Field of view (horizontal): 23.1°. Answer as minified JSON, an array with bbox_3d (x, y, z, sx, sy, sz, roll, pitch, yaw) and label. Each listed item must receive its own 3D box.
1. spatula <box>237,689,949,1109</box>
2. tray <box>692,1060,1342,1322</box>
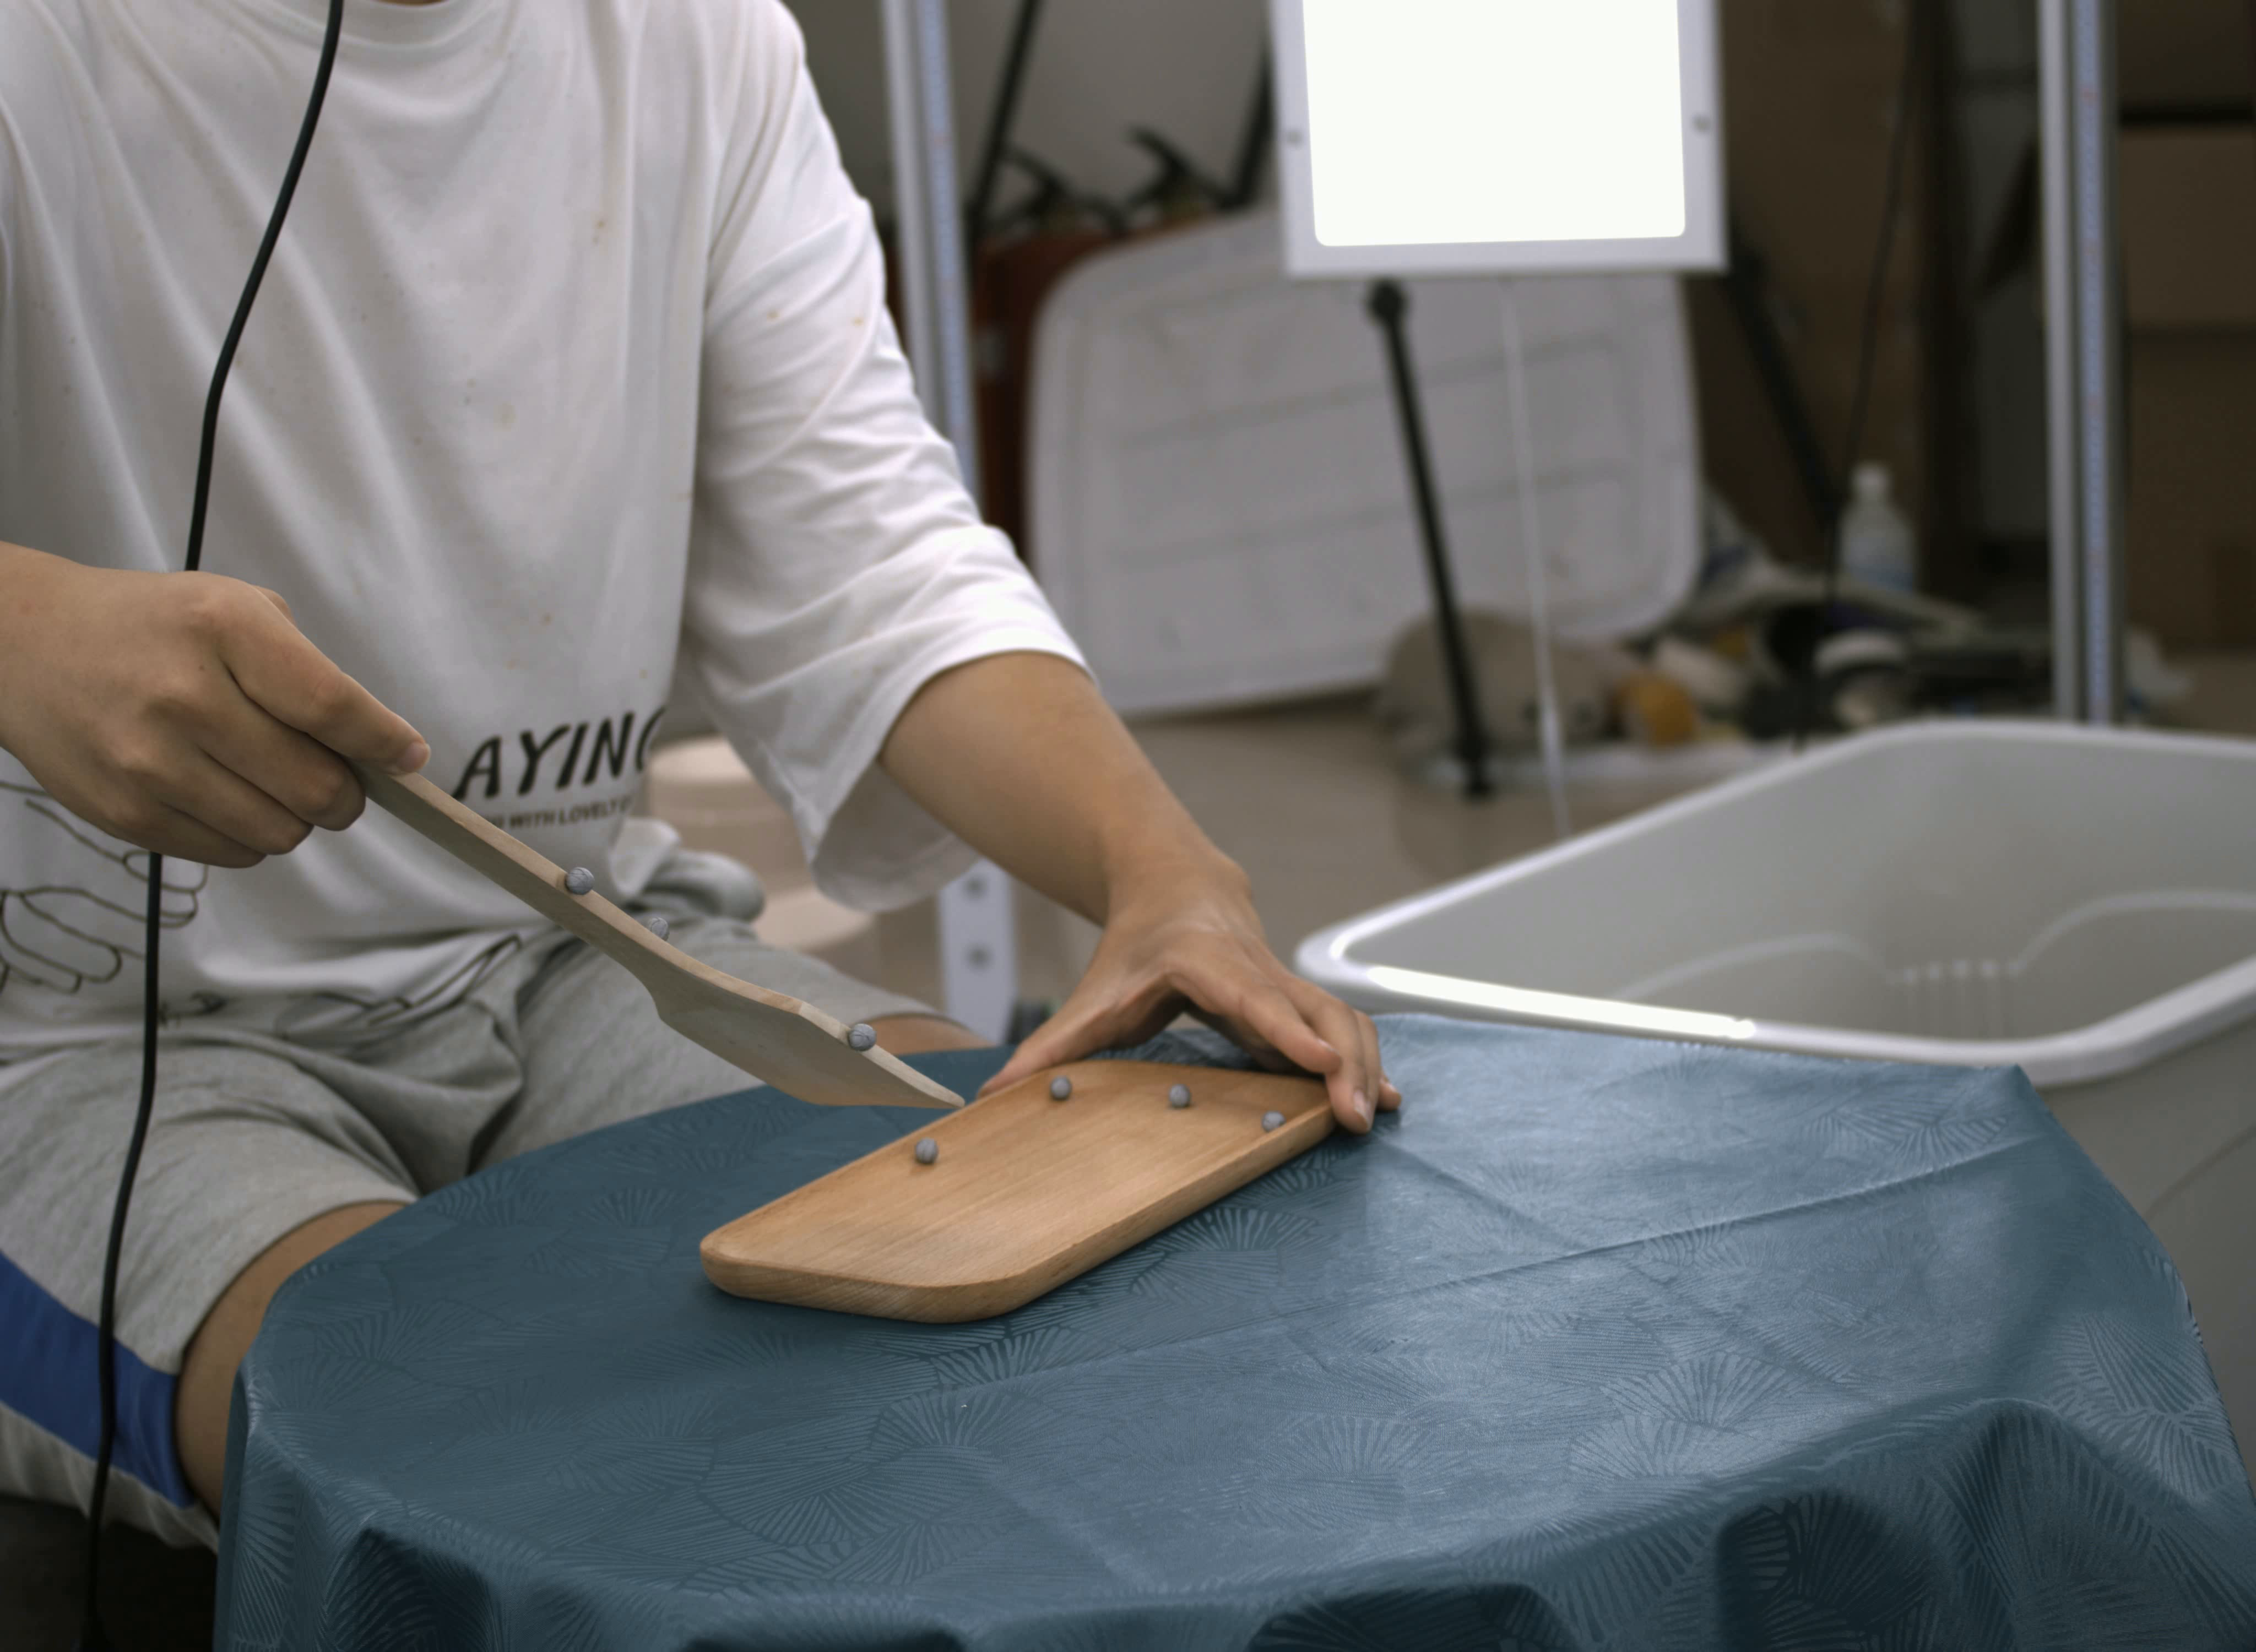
[{"bbox_3d":[-0.168,0.028,1.719,0.074,0.010,0.288,-1,-28,43],"label":"spatula"},{"bbox_3d":[-0.034,0.123,1.893,0.133,0.023,0.244,1,15,36],"label":"tray"}]
